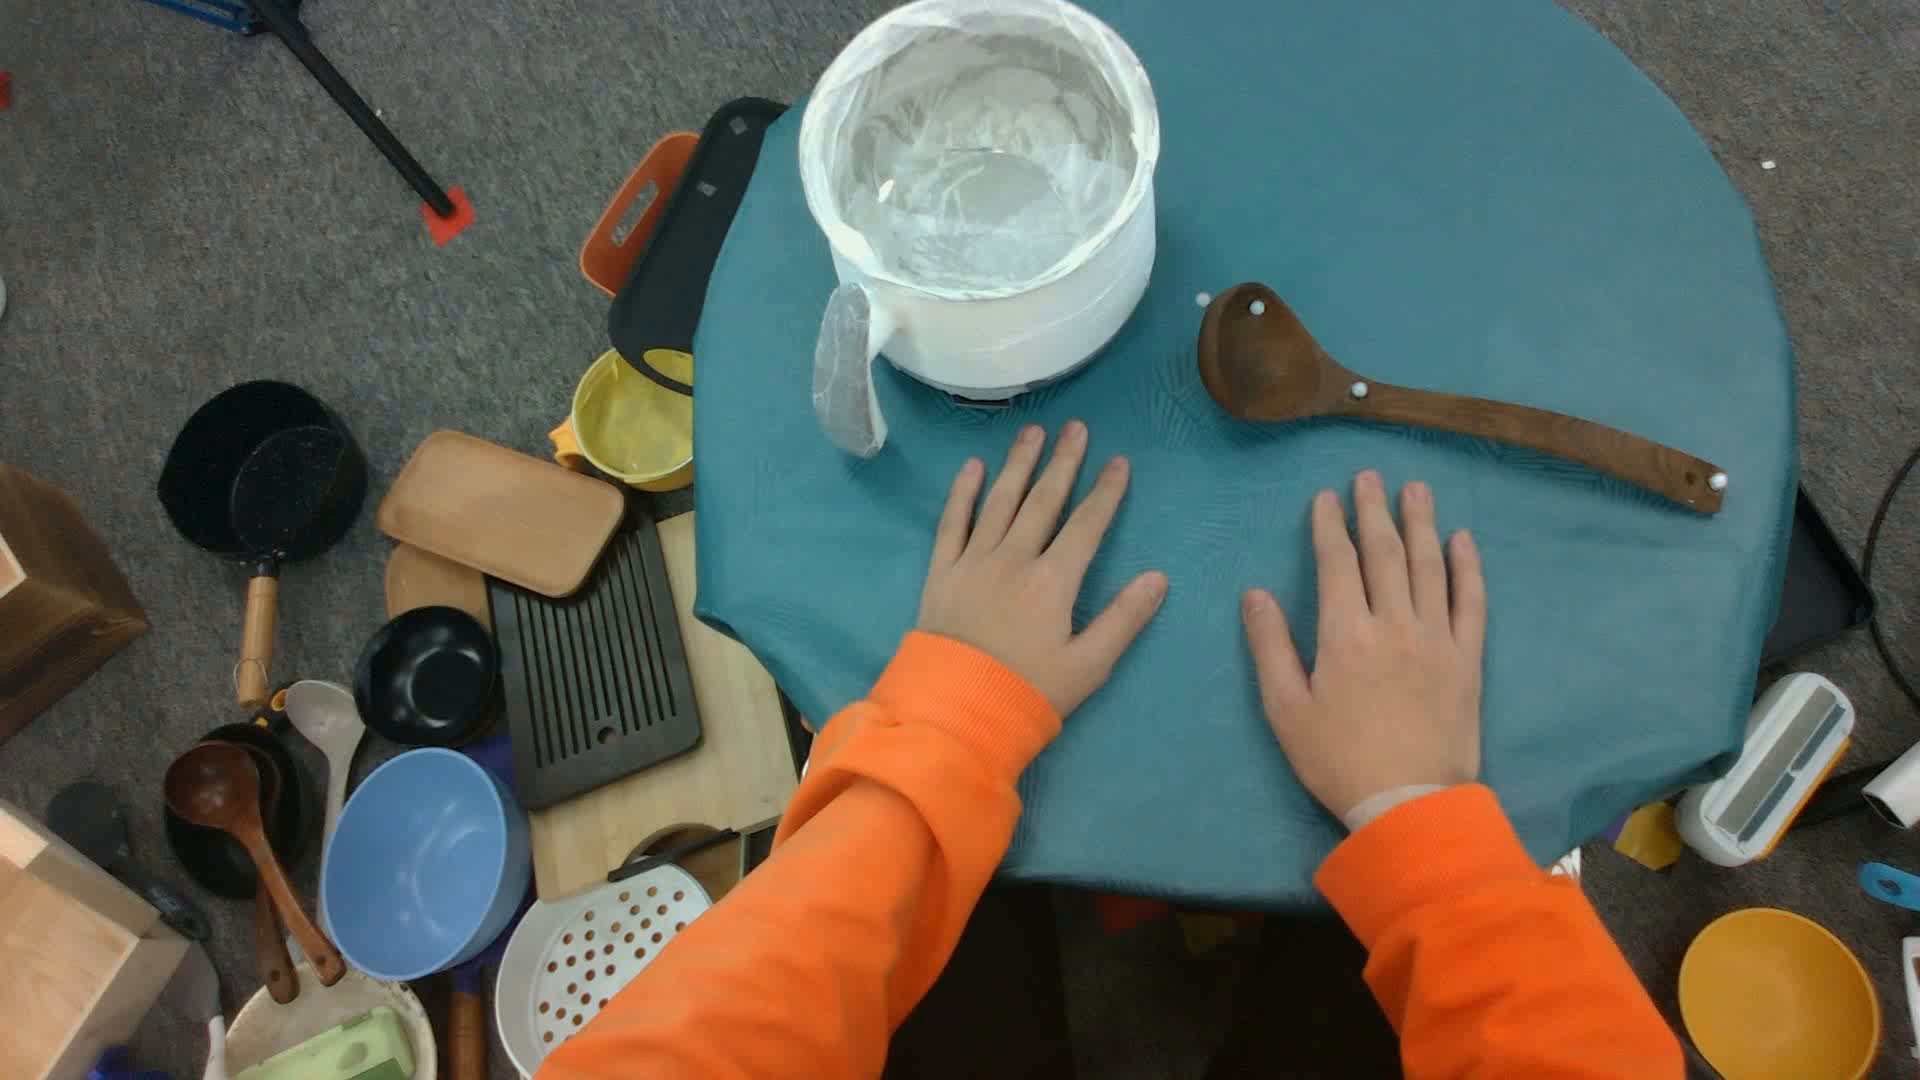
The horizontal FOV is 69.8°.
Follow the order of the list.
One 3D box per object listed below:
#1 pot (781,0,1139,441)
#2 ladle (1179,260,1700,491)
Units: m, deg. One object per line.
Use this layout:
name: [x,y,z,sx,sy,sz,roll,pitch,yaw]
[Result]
pot: [-0.010,-0.162,0.727,0.179,0.136,0.234,31,77,15]
ladle: [0.248,-0.081,0.708,0.274,0.071,0.076,16,77,12]
